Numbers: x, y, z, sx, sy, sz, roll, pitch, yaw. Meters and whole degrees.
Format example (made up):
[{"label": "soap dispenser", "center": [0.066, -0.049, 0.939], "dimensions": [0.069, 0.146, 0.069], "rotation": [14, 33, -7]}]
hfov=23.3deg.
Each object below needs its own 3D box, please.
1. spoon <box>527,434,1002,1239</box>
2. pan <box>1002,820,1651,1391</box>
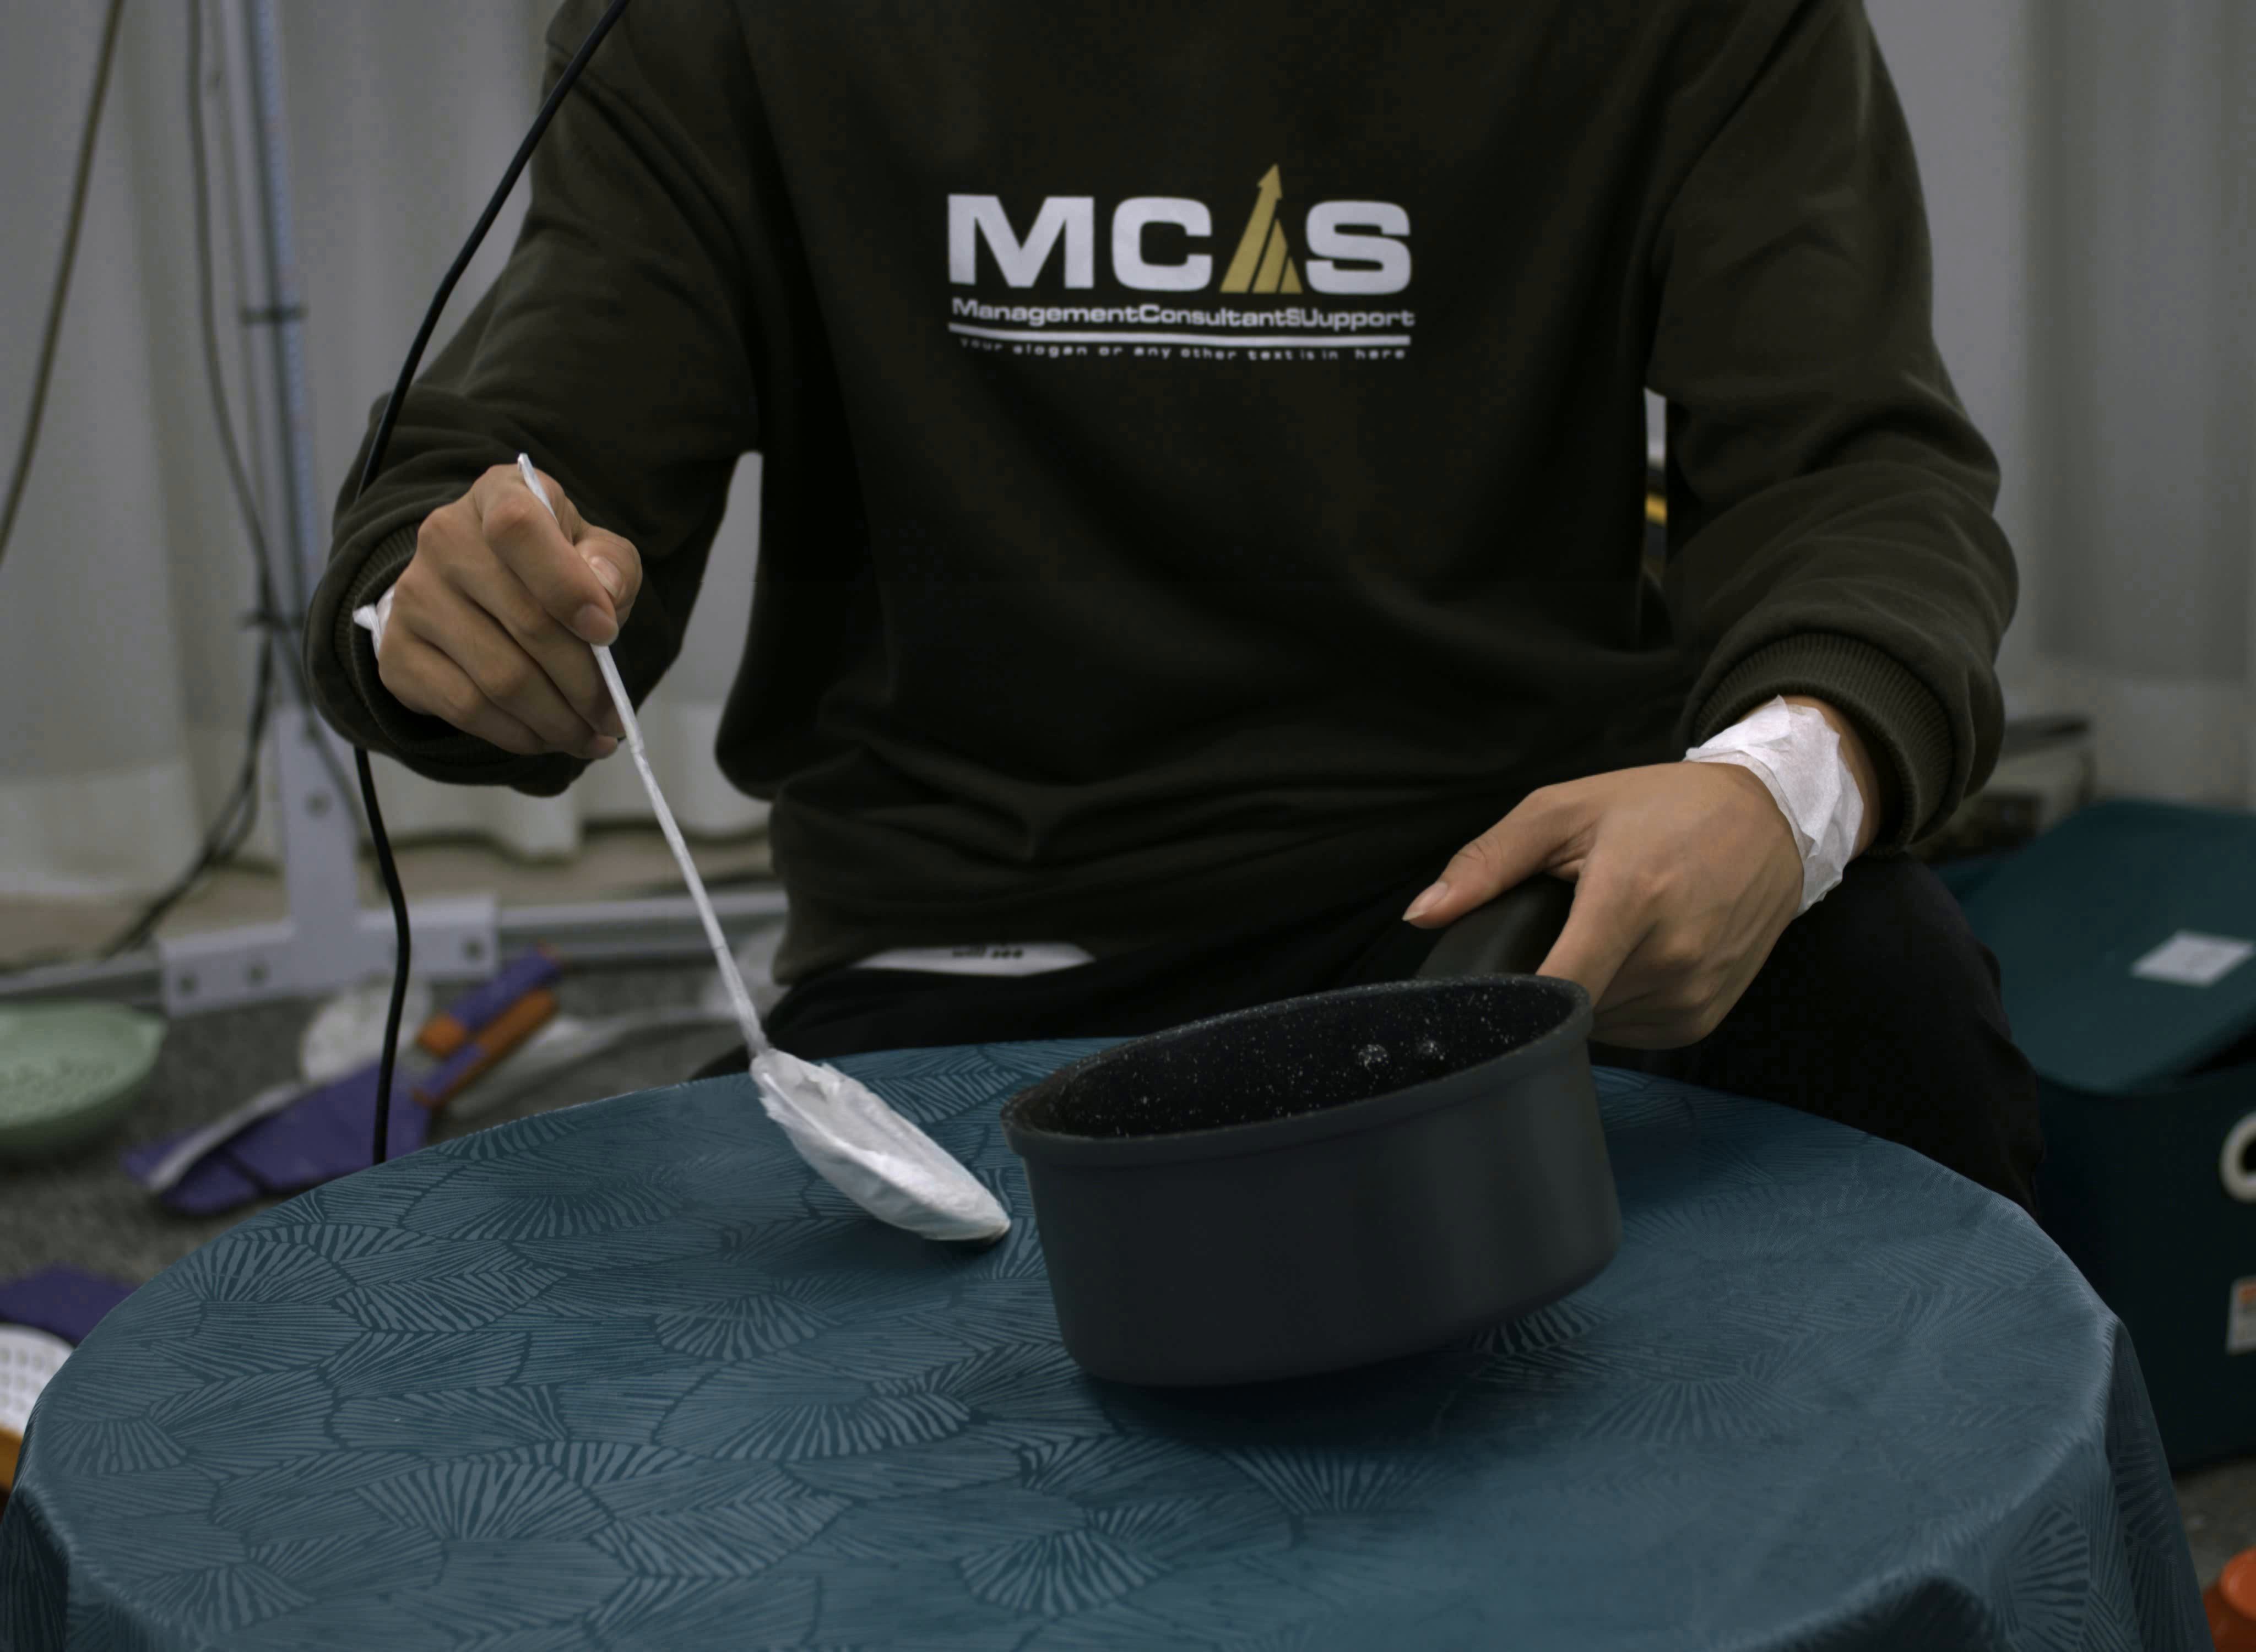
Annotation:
[{"label": "spoon", "center": [-0.111, 0.003, 1.680], "dimensions": [0.059, 0.278, 0.101], "rotation": [-19, 2, 3]}, {"label": "pan", "center": [0.088, 0.079, 1.617], "dimensions": [0.172, 0.086, 0.329], "rotation": [-7, 11, 27]}]
